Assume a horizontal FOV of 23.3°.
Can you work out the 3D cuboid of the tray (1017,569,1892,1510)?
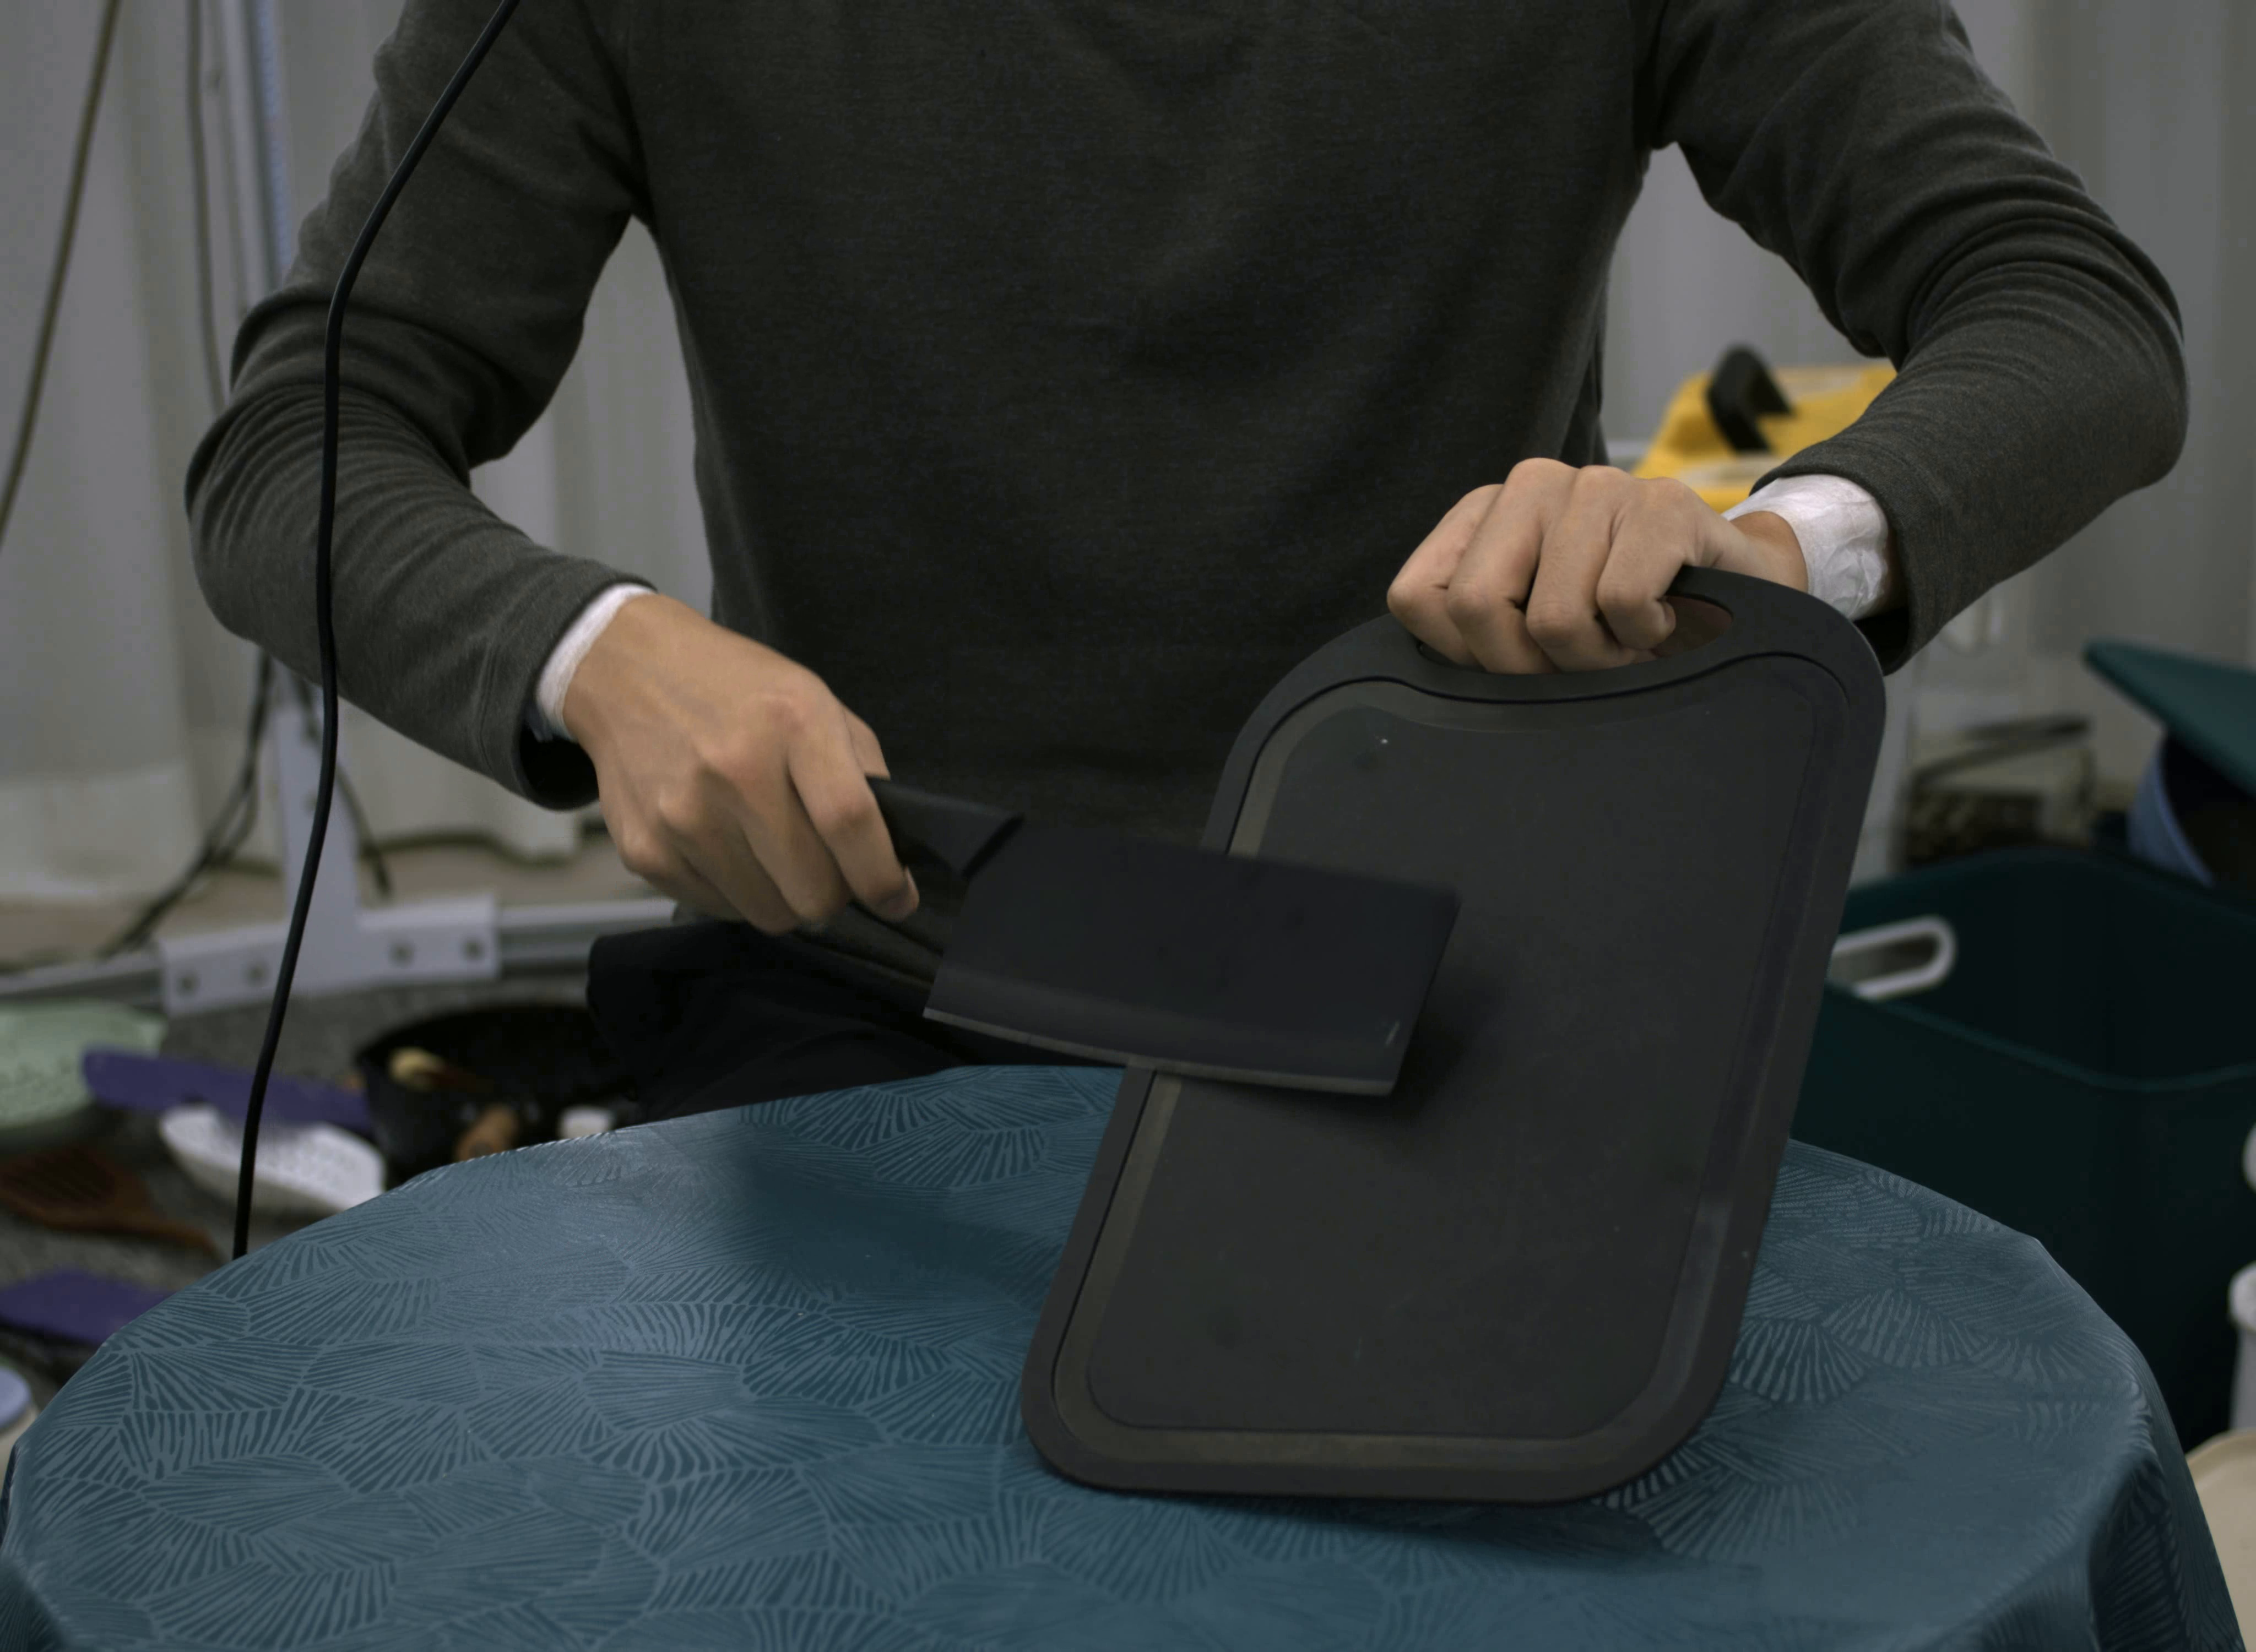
[{"bbox_3d":[0.094,0.051,1.535,0.211,0.009,0.329,-2,50,28],"label":"tray"}]

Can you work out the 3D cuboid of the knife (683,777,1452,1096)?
[{"bbox_3d":[-0.027,0.028,1.618,0.304,0.081,0.020,15,-15,44],"label":"knife"}]
